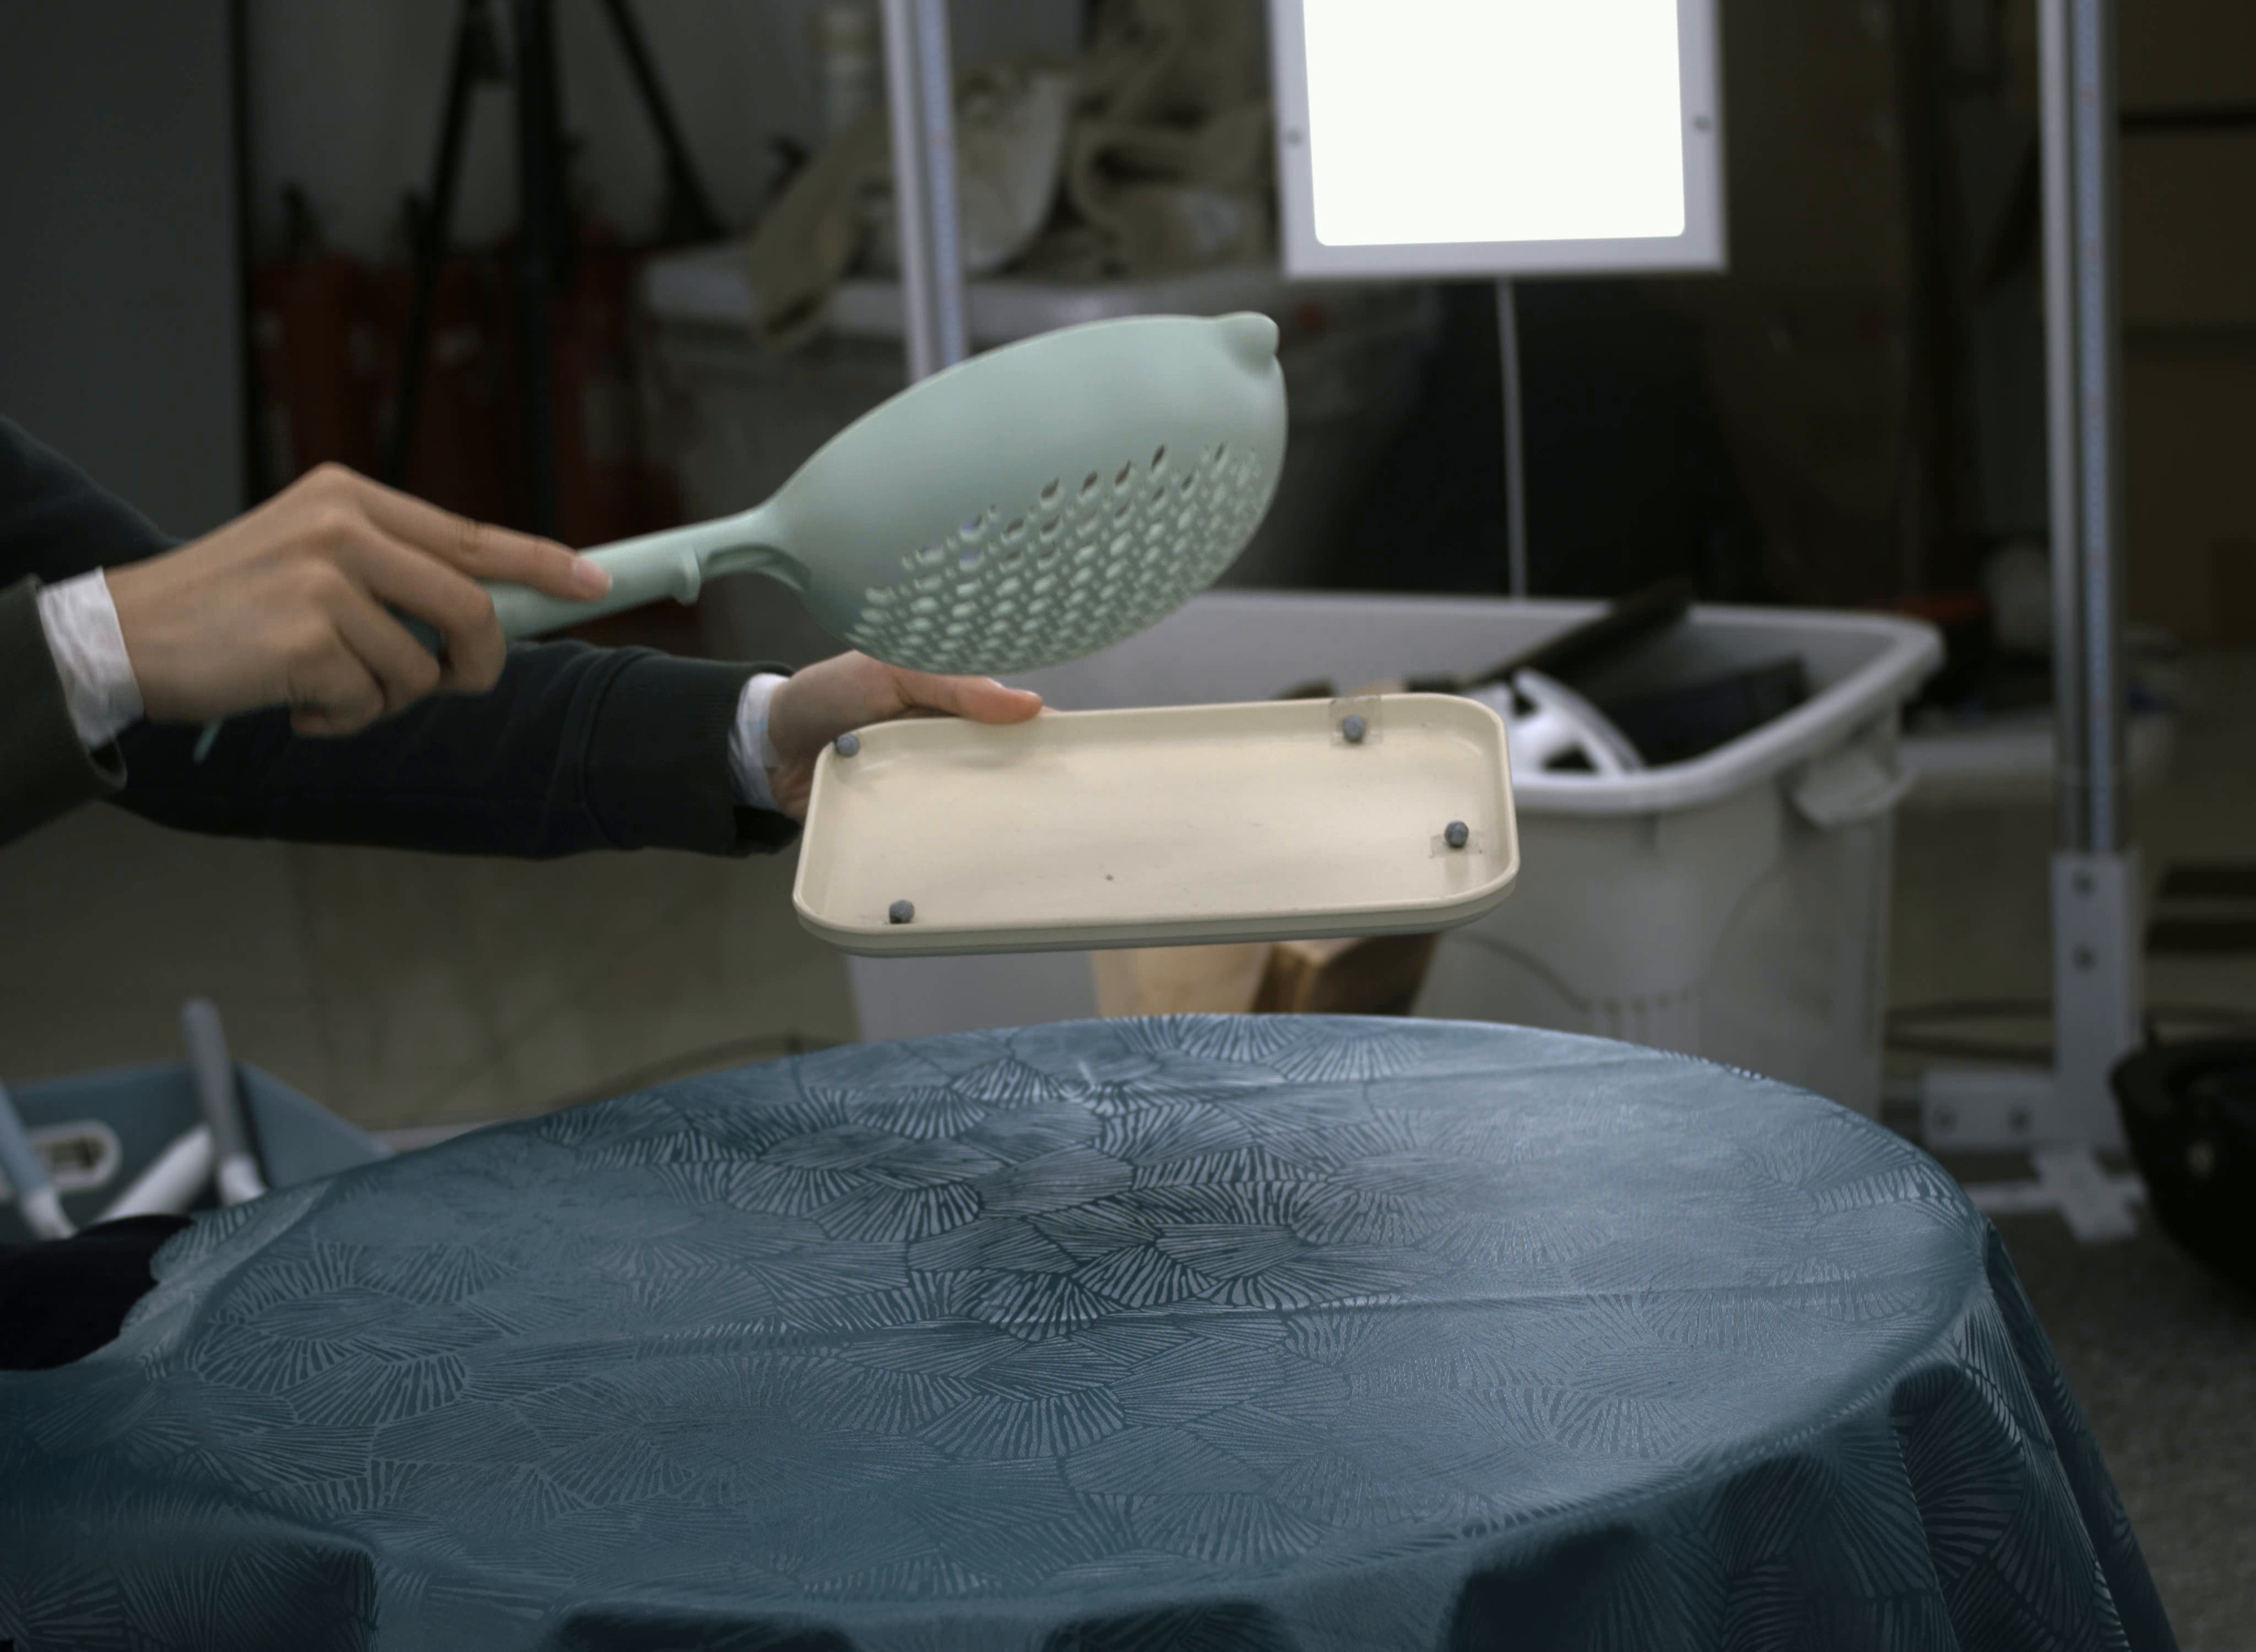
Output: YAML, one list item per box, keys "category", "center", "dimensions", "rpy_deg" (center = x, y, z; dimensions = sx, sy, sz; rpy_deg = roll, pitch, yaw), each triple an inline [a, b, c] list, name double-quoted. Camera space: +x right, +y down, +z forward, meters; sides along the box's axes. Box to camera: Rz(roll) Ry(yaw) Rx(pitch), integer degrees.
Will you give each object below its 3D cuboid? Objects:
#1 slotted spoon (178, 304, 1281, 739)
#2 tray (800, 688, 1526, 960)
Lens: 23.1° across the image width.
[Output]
- category: "slotted spoon"
  center: [-0.117, -0.081, 1.680]
  dimensions: [0.353, 0.075, 0.171]
  rpy_deg: [-7, -24, -15]
- category: "tray"
  center: [0.012, 0.000, 1.845]
  dimensions: [0.240, 0.017, 0.170]
  rpy_deg: [-4, 24, 5]
